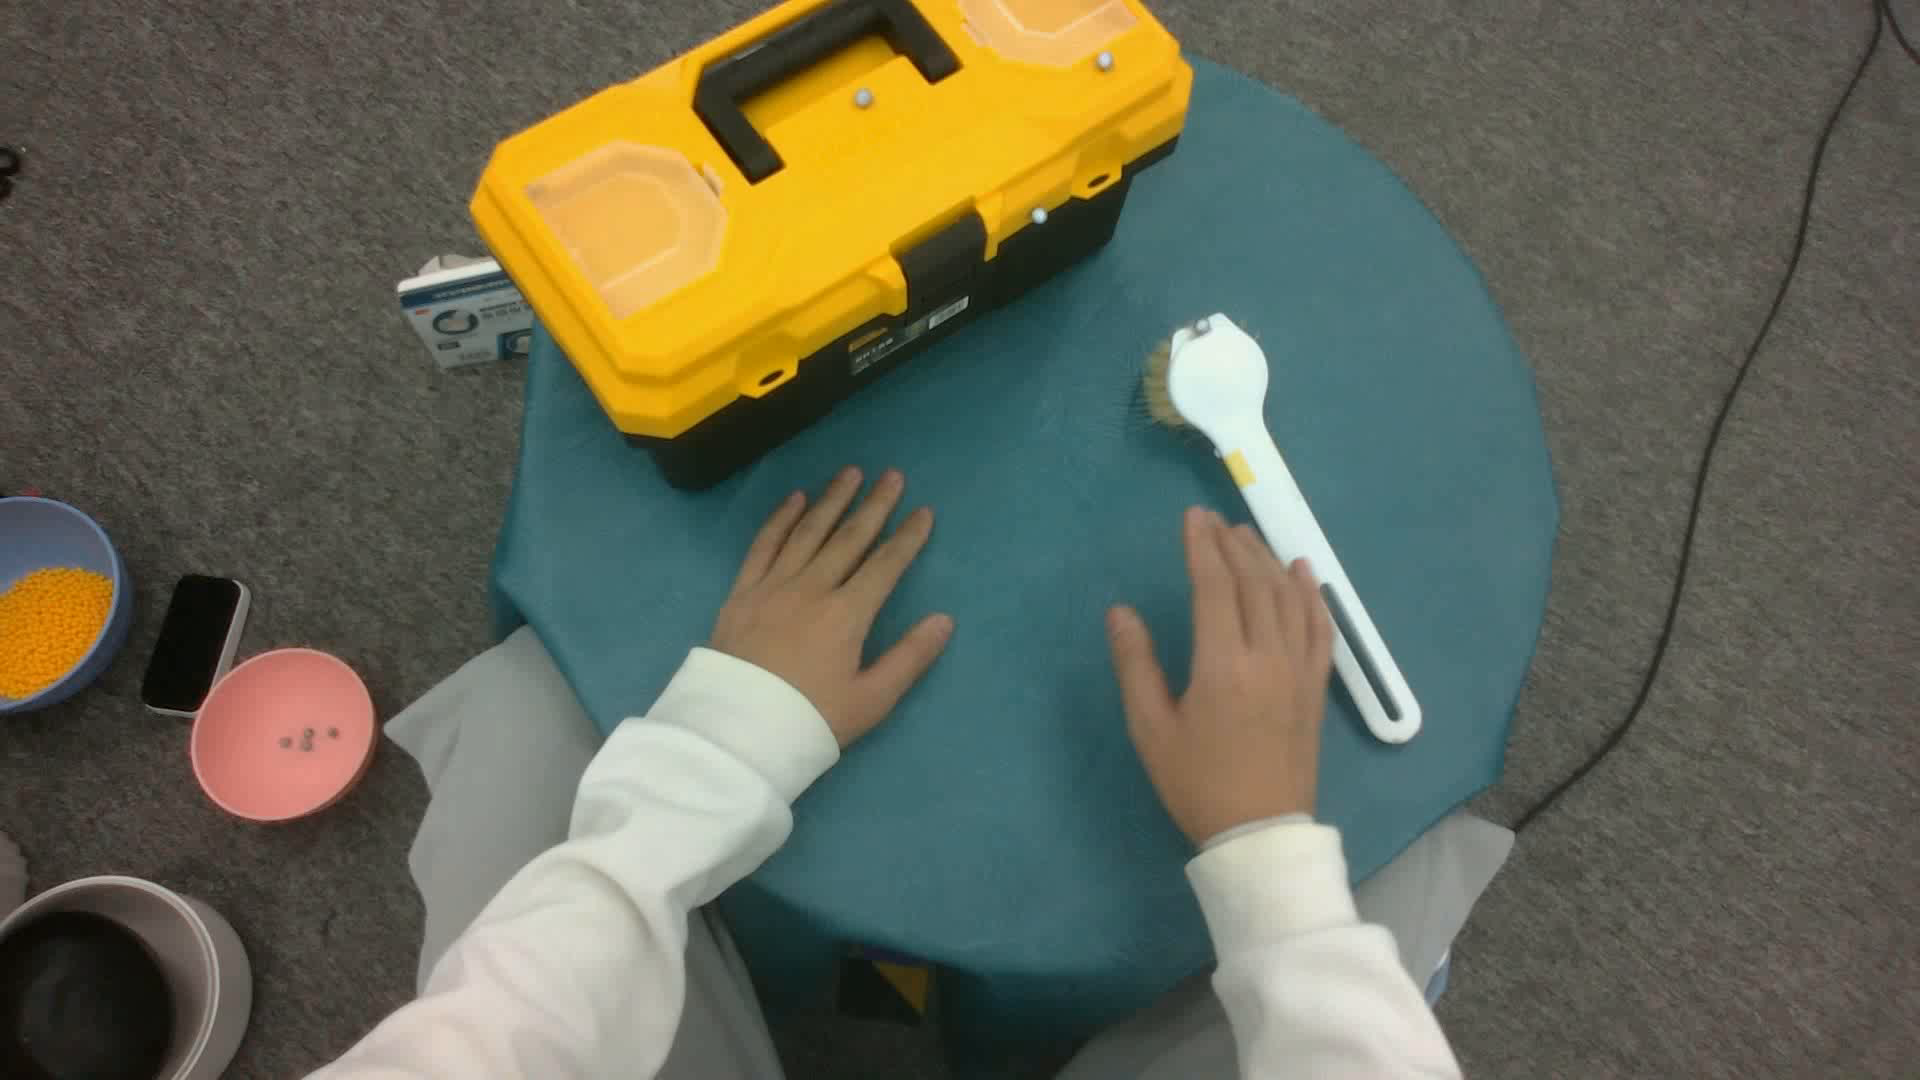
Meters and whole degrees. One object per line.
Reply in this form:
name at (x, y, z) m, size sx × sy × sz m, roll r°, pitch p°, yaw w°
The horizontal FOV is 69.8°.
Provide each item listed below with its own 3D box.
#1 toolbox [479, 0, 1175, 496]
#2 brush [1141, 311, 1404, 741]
toolbox at (-0.063, -0.182, 0.761) m, size 0.352 × 0.172 × 0.181 m, roll -35°, pitch 74°, yaw -14°
brush at (0.183, -0.010, 0.796) m, size 0.068 × 0.056 × 0.266 m, roll -27°, pitch 88°, yaw 10°
